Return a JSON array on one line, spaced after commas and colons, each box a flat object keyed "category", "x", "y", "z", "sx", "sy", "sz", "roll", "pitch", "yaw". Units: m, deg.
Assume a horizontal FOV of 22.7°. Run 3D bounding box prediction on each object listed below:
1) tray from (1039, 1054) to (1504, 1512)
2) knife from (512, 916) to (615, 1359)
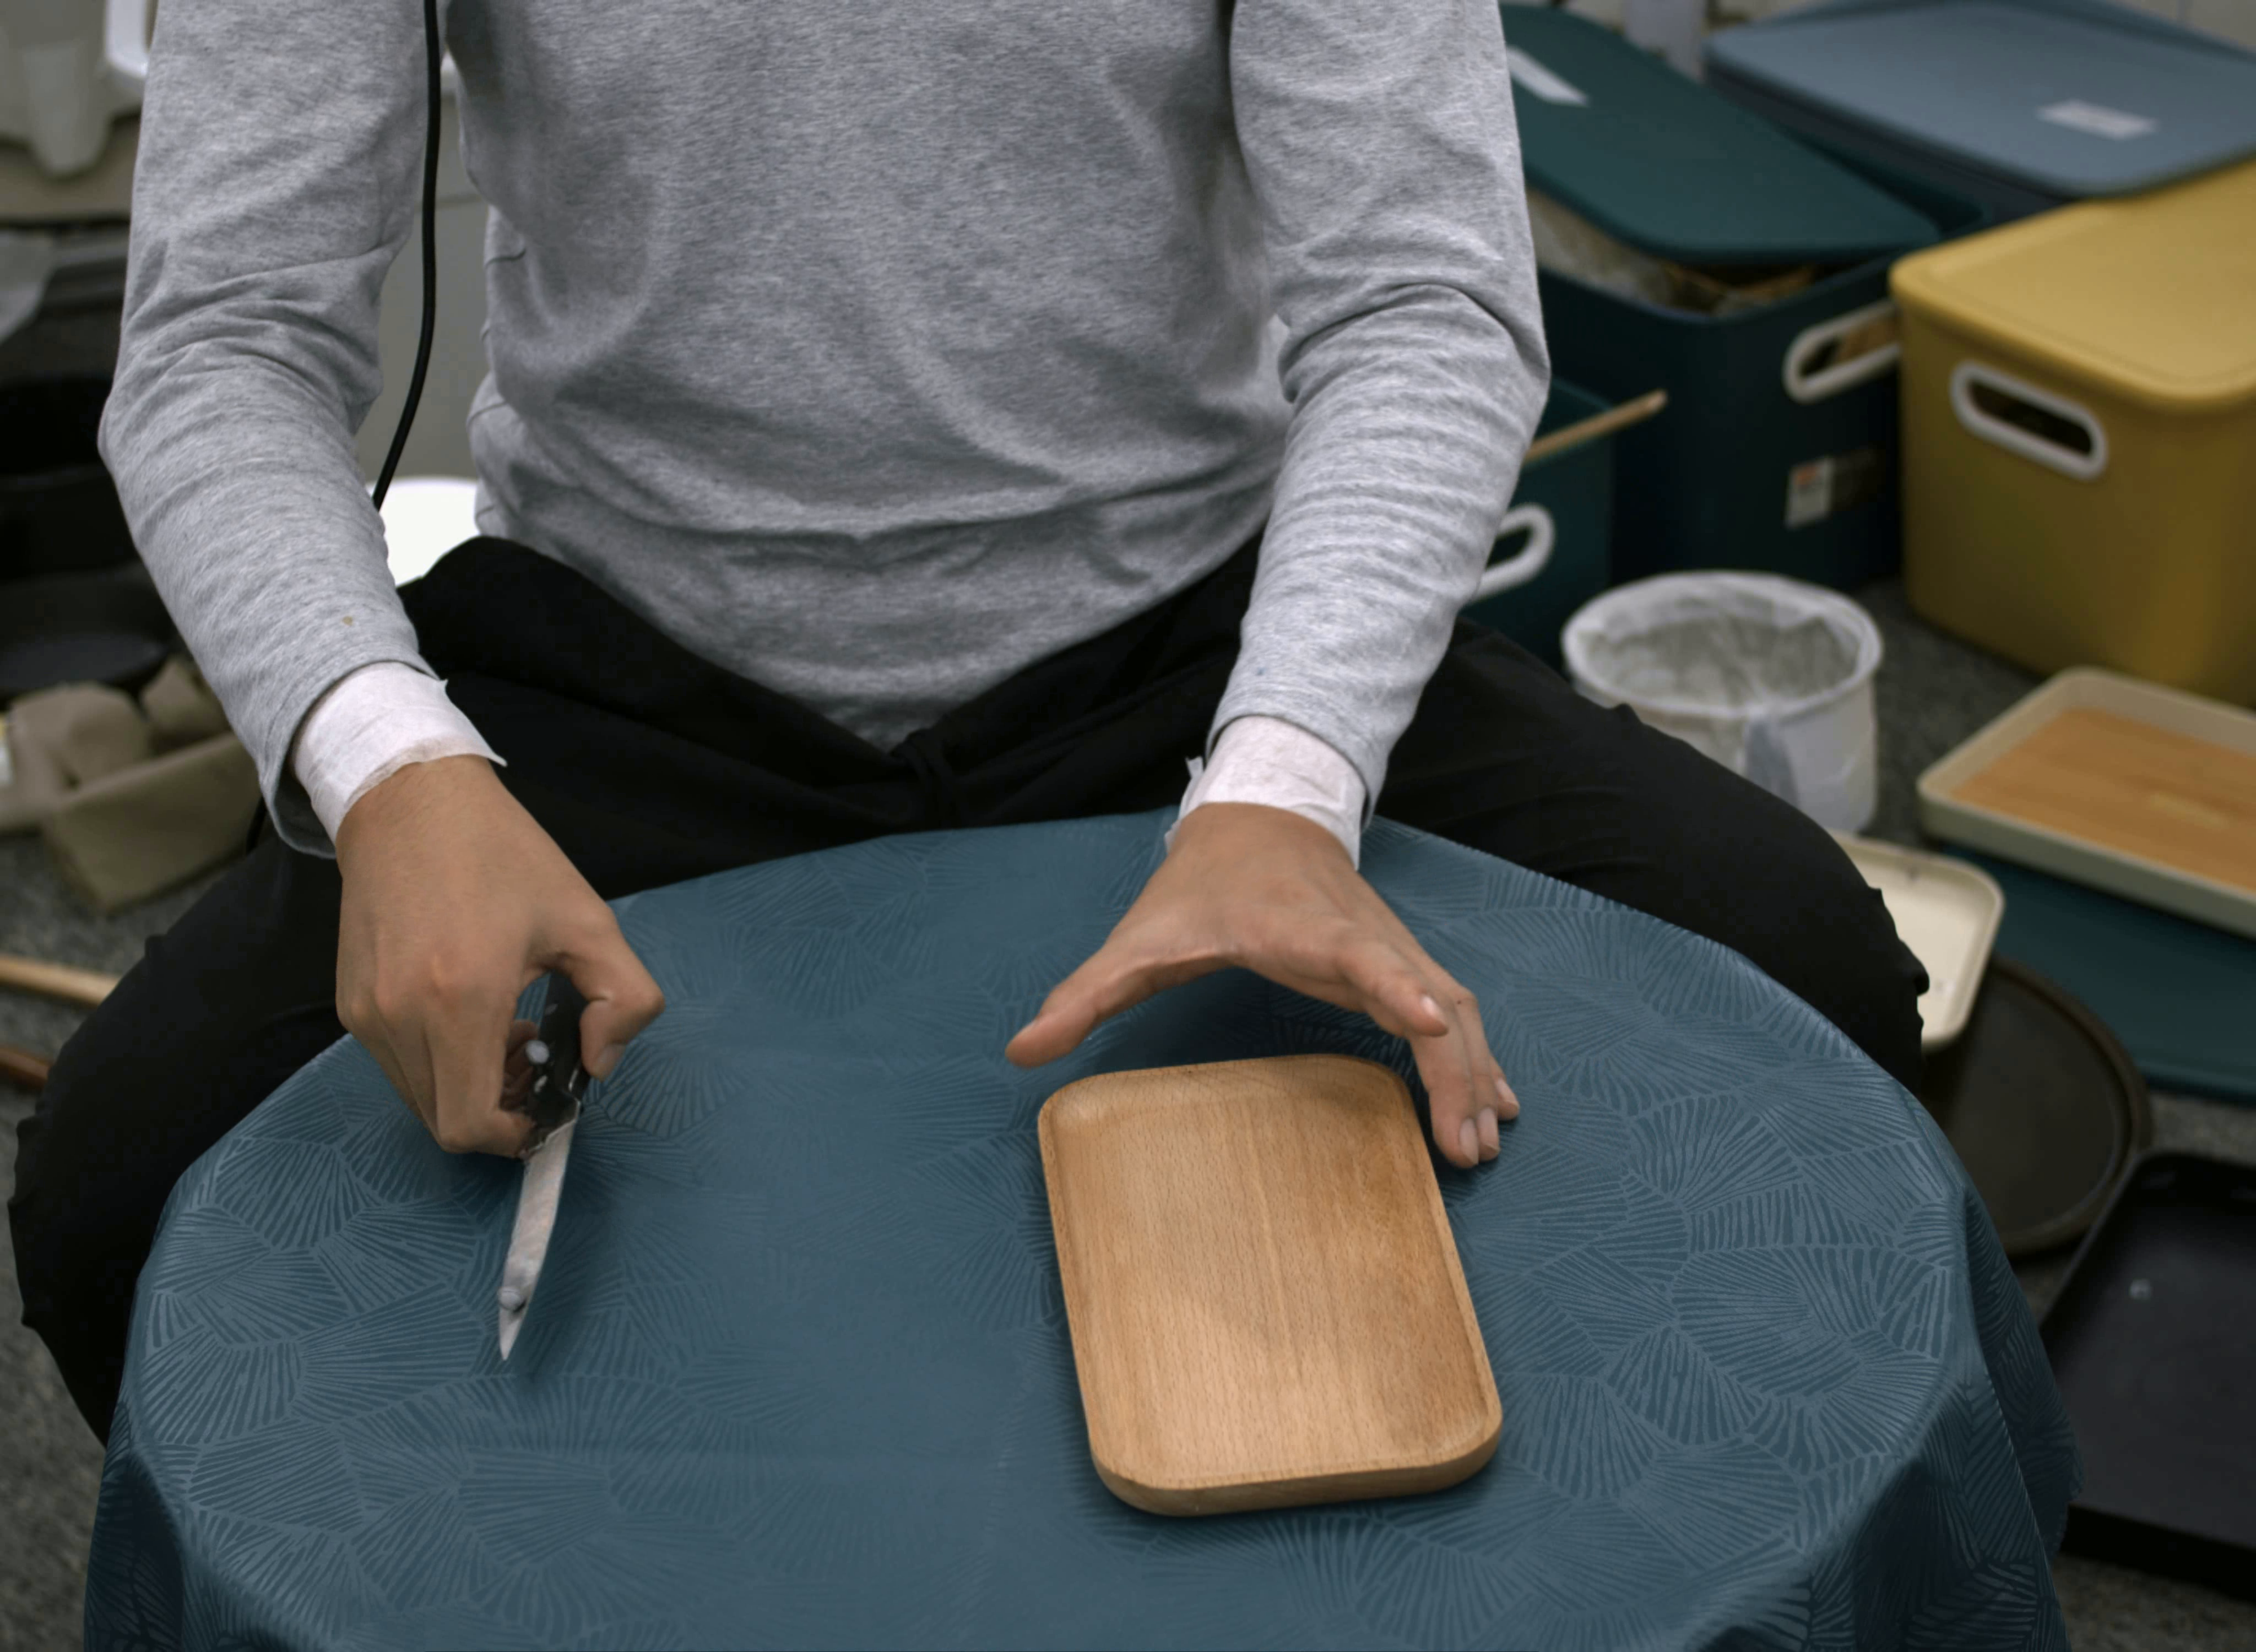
[{"category": "tray", "x": 0.042, "y": 0.143, "z": 1.798, "sx": 0.130, "sy": 0.022, "sz": 0.254, "roll": -2, "pitch": 26, "yaw": -4}, {"category": "knife", "x": -0.190, "y": 0.103, "z": 1.859, "sx": 0.024, "sy": 0.016, "sz": 0.242, "roll": -36, "pitch": 26, "yaw": 21}]
